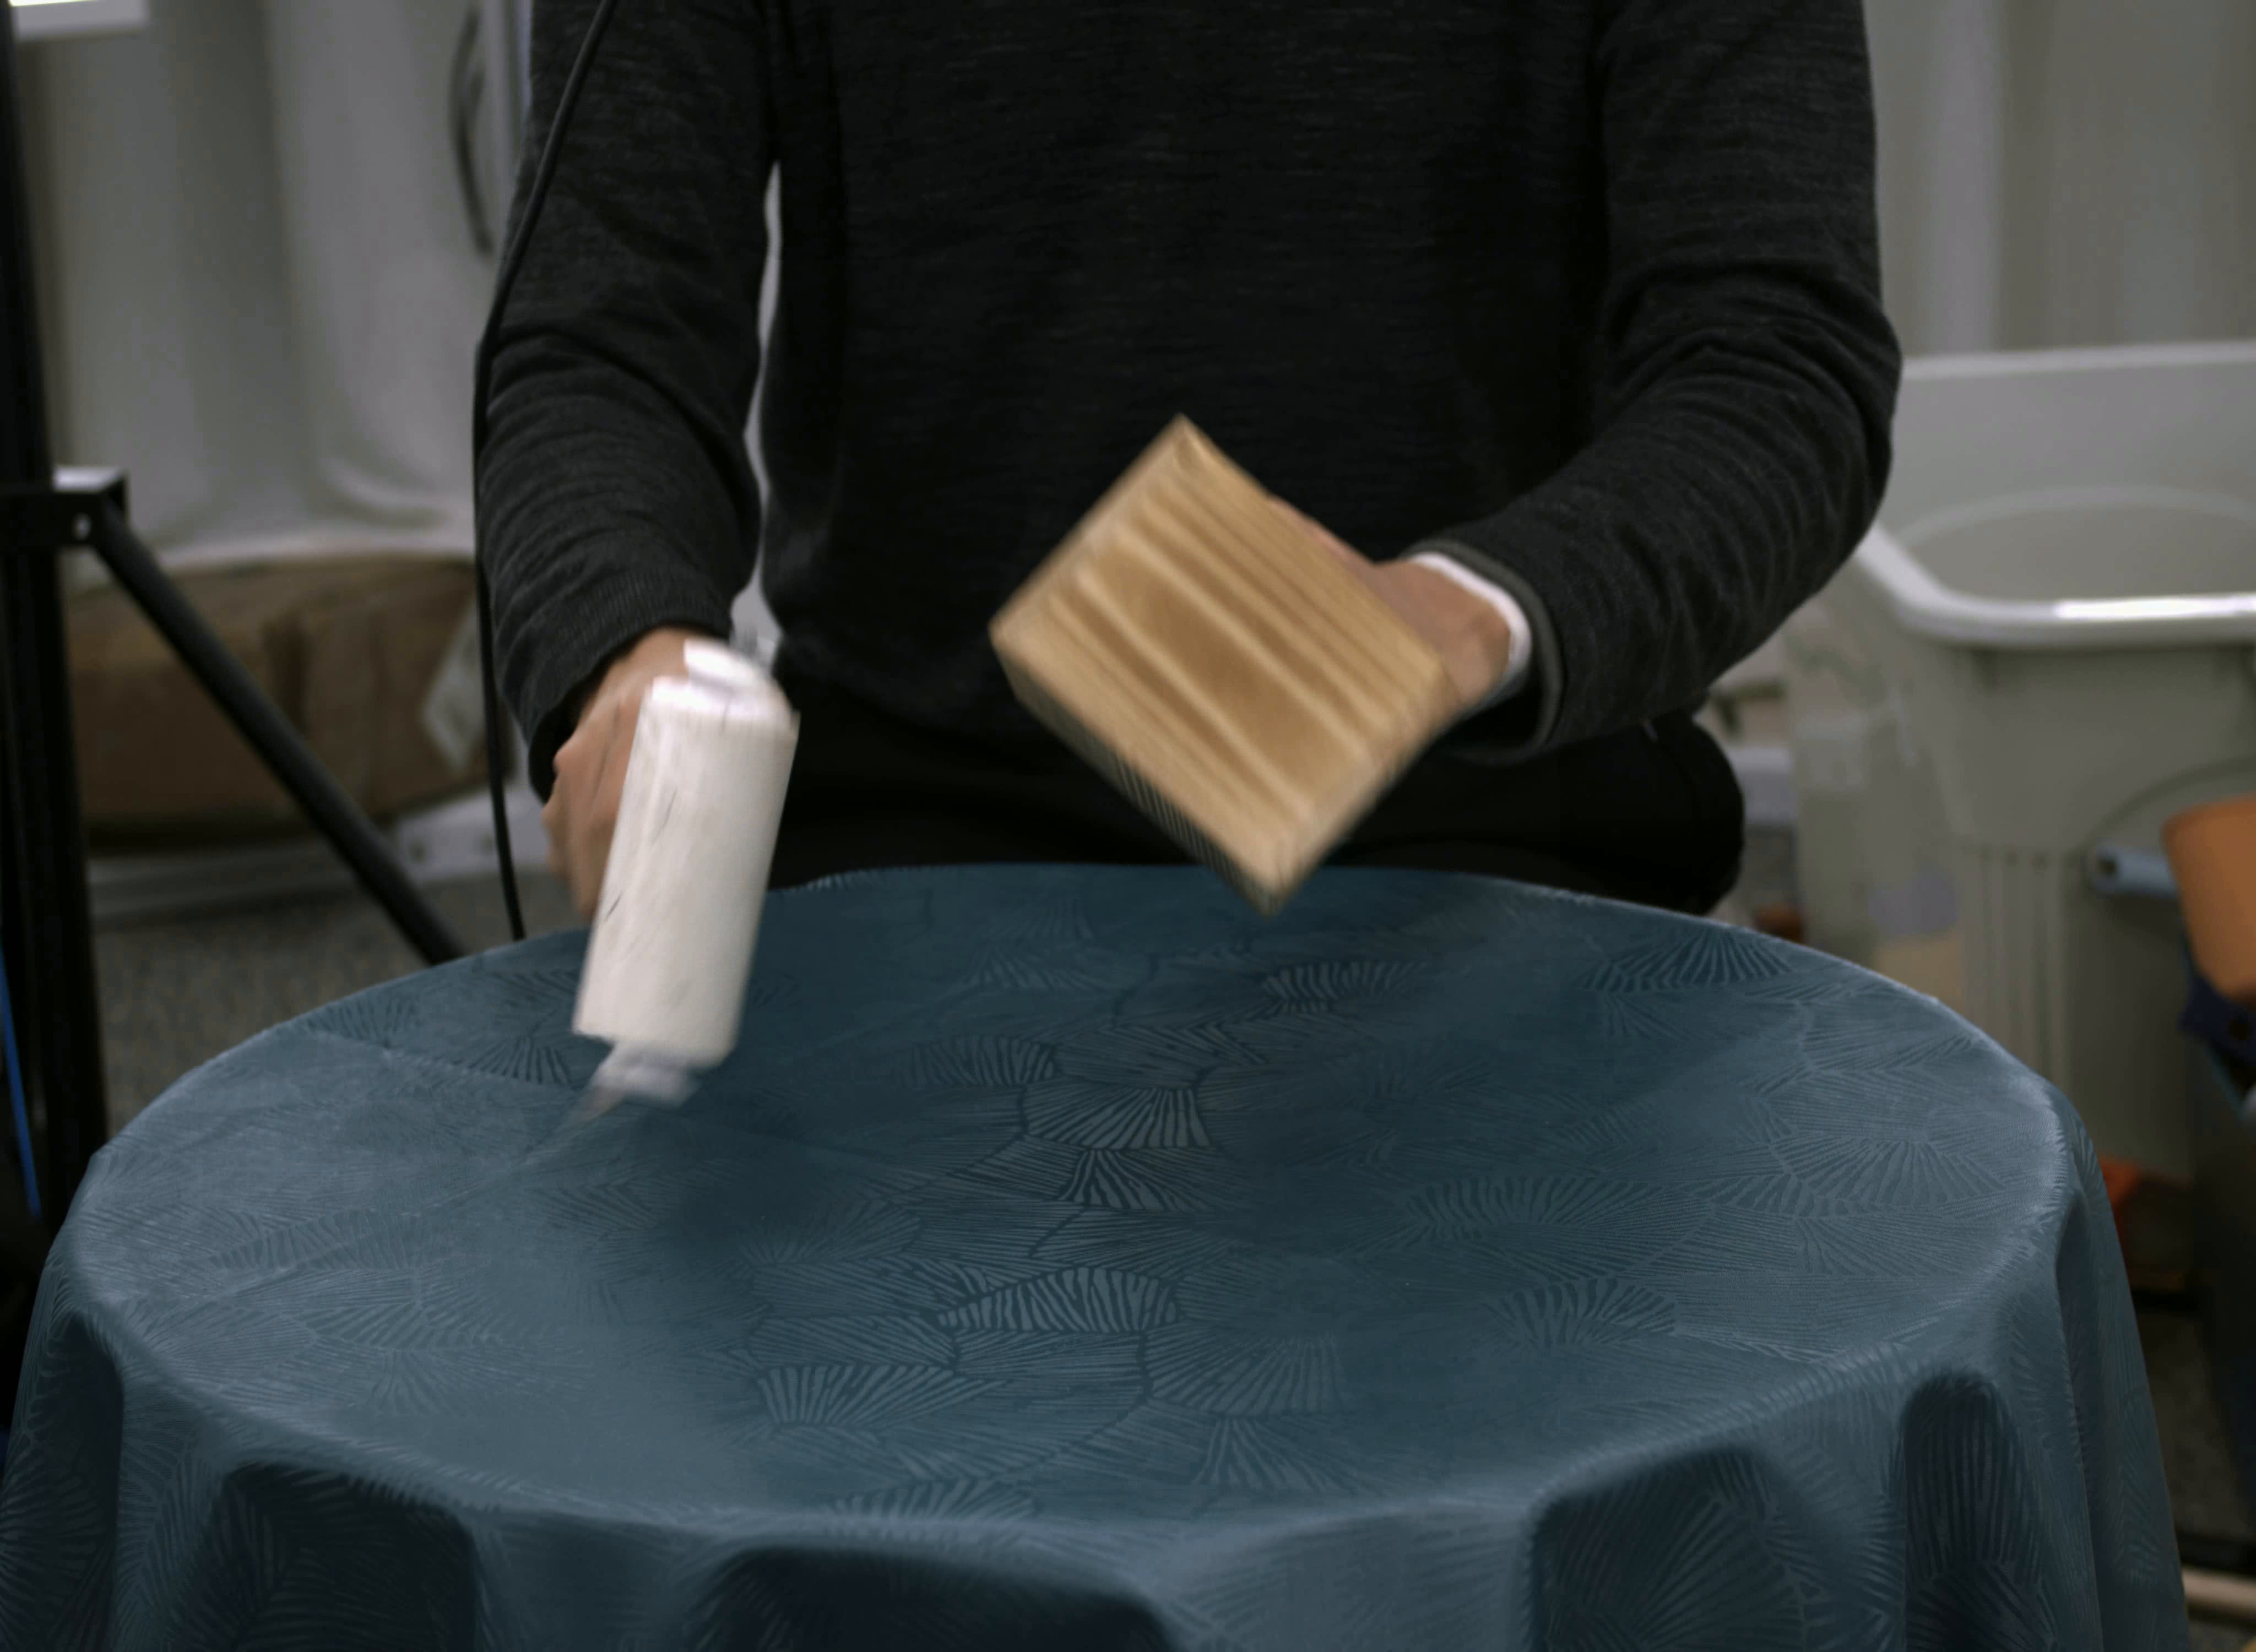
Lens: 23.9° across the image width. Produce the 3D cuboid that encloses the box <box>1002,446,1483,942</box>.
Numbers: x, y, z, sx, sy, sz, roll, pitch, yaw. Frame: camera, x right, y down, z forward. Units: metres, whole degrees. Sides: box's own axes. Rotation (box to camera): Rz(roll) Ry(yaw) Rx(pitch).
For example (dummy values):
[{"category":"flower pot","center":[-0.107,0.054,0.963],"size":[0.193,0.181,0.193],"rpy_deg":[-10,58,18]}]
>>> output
[{"category":"box","center":[0.030,-0.033,1.527],"size":[0.108,0.080,0.211],"rpy_deg":[42,-2,2]}]

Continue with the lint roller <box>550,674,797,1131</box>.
[{"category":"lint roller","center":[-0.147,0.011,1.601],"size":[0.049,0.133,0.183],"rpy_deg":[15,7,-17]}]
